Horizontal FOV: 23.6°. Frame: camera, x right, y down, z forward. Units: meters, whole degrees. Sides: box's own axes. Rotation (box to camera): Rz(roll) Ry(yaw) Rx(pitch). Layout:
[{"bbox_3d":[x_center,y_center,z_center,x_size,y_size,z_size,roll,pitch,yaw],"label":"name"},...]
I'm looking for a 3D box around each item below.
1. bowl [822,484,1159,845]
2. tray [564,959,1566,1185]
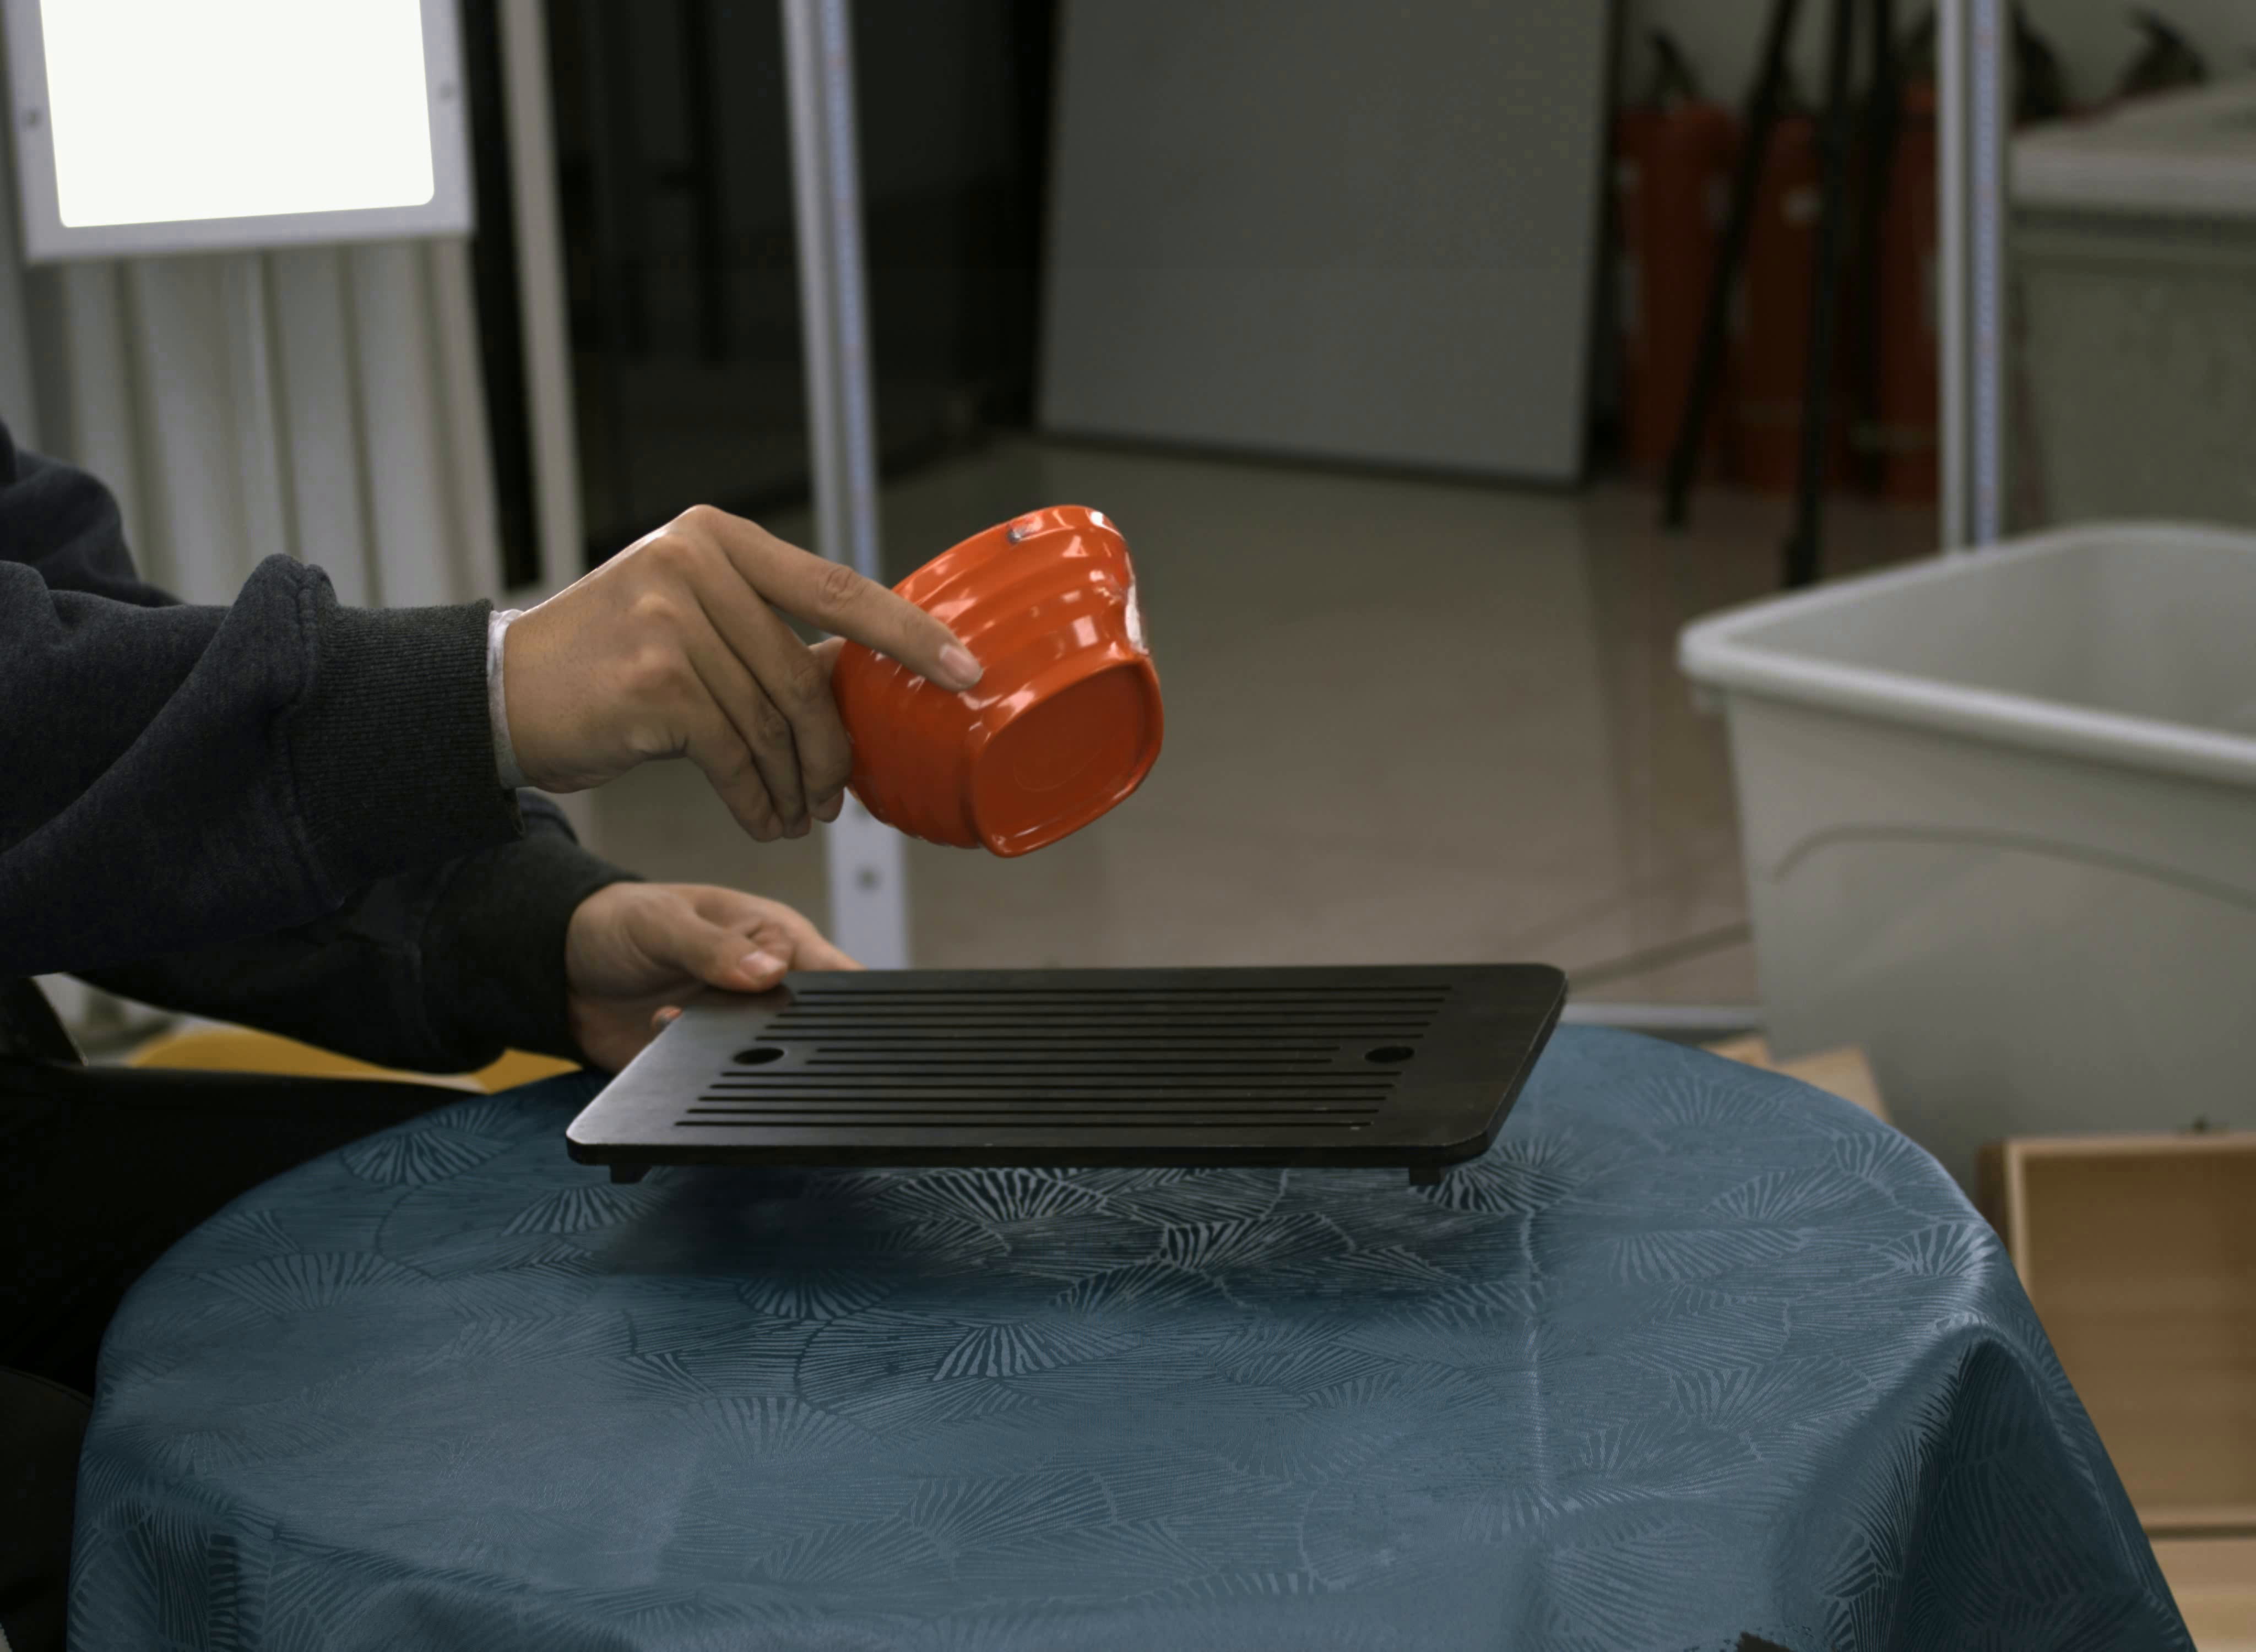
[{"bbox_3d":[-0.032,-0.039,1.601,0.116,0.120,0.052,-12,48,-34],"label":"bowl"},{"bbox_3d":[-0.017,0.081,1.756,0.305,0.019,0.169,-2,17,17],"label":"tray"}]
